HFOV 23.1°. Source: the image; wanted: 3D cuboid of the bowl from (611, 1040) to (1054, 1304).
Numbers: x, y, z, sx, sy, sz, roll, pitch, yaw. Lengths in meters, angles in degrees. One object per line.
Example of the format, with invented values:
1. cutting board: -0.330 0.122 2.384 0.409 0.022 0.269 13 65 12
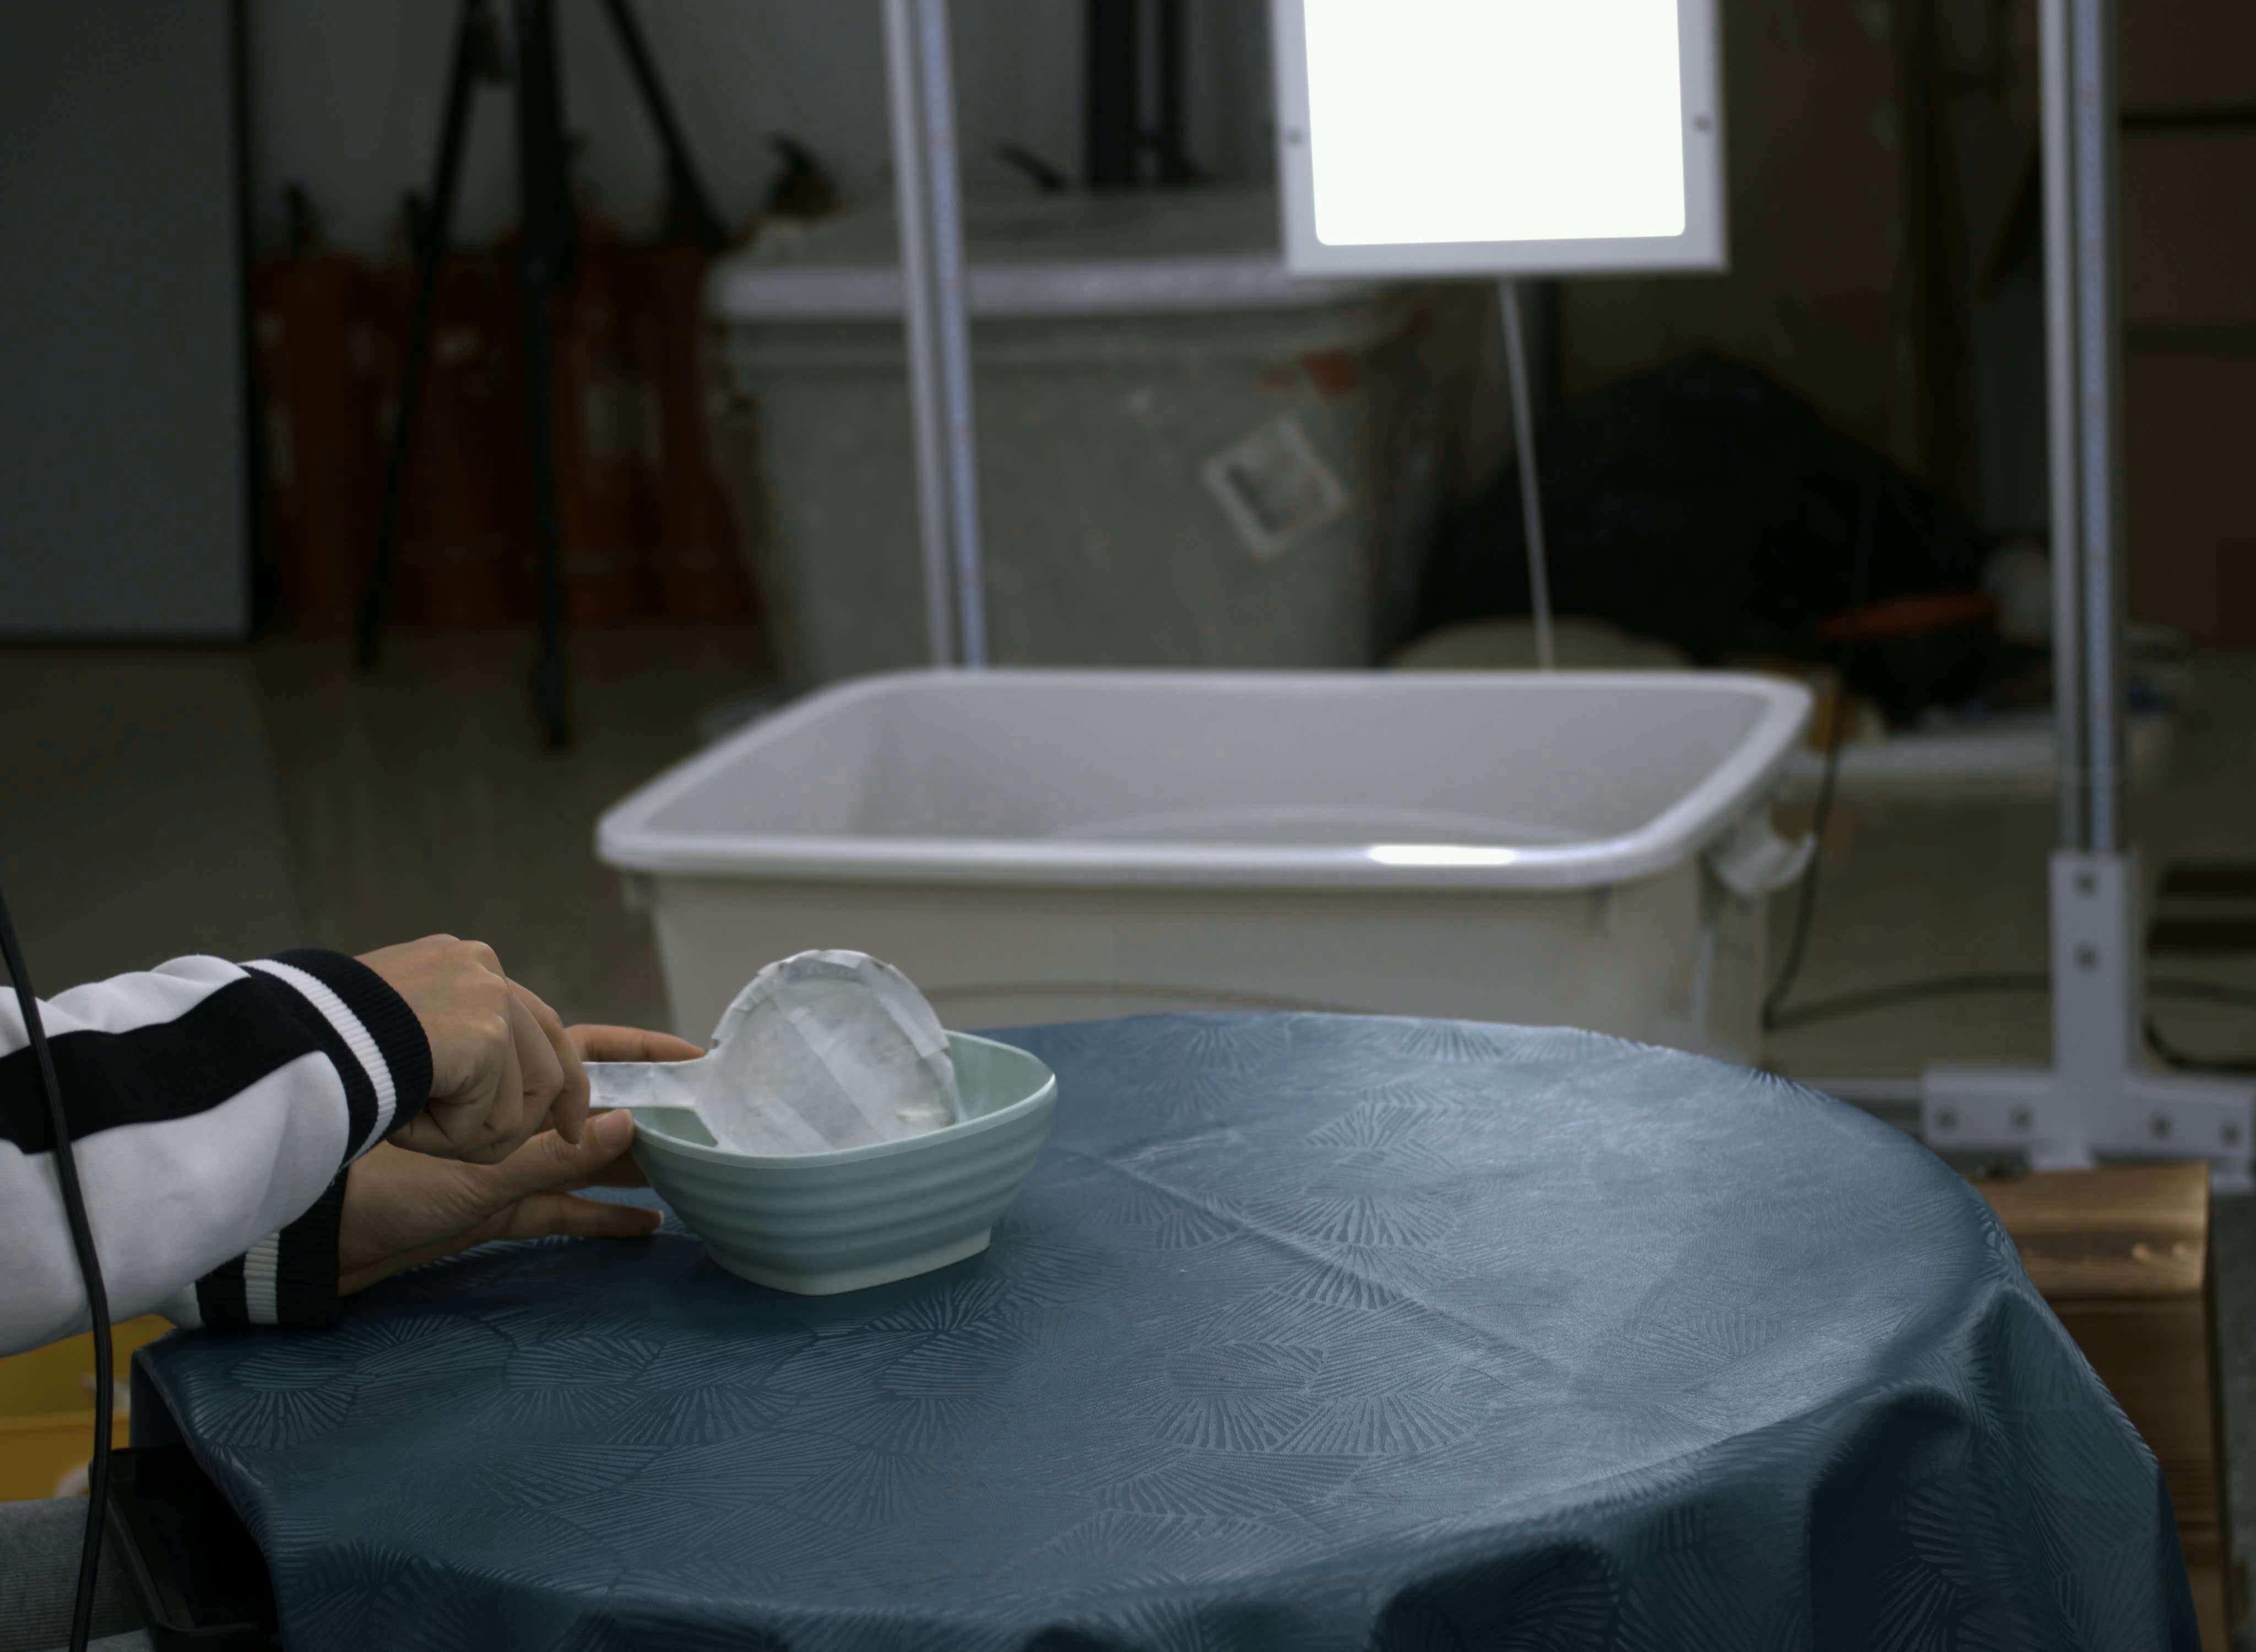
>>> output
1. bowl: -0.098 0.118 1.858 0.151 0.059 0.151 -5 14 0

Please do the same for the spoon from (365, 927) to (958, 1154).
1. spoon: -0.145 0.075 1.783 0.060 0.101 0.272 -4 -8 27
